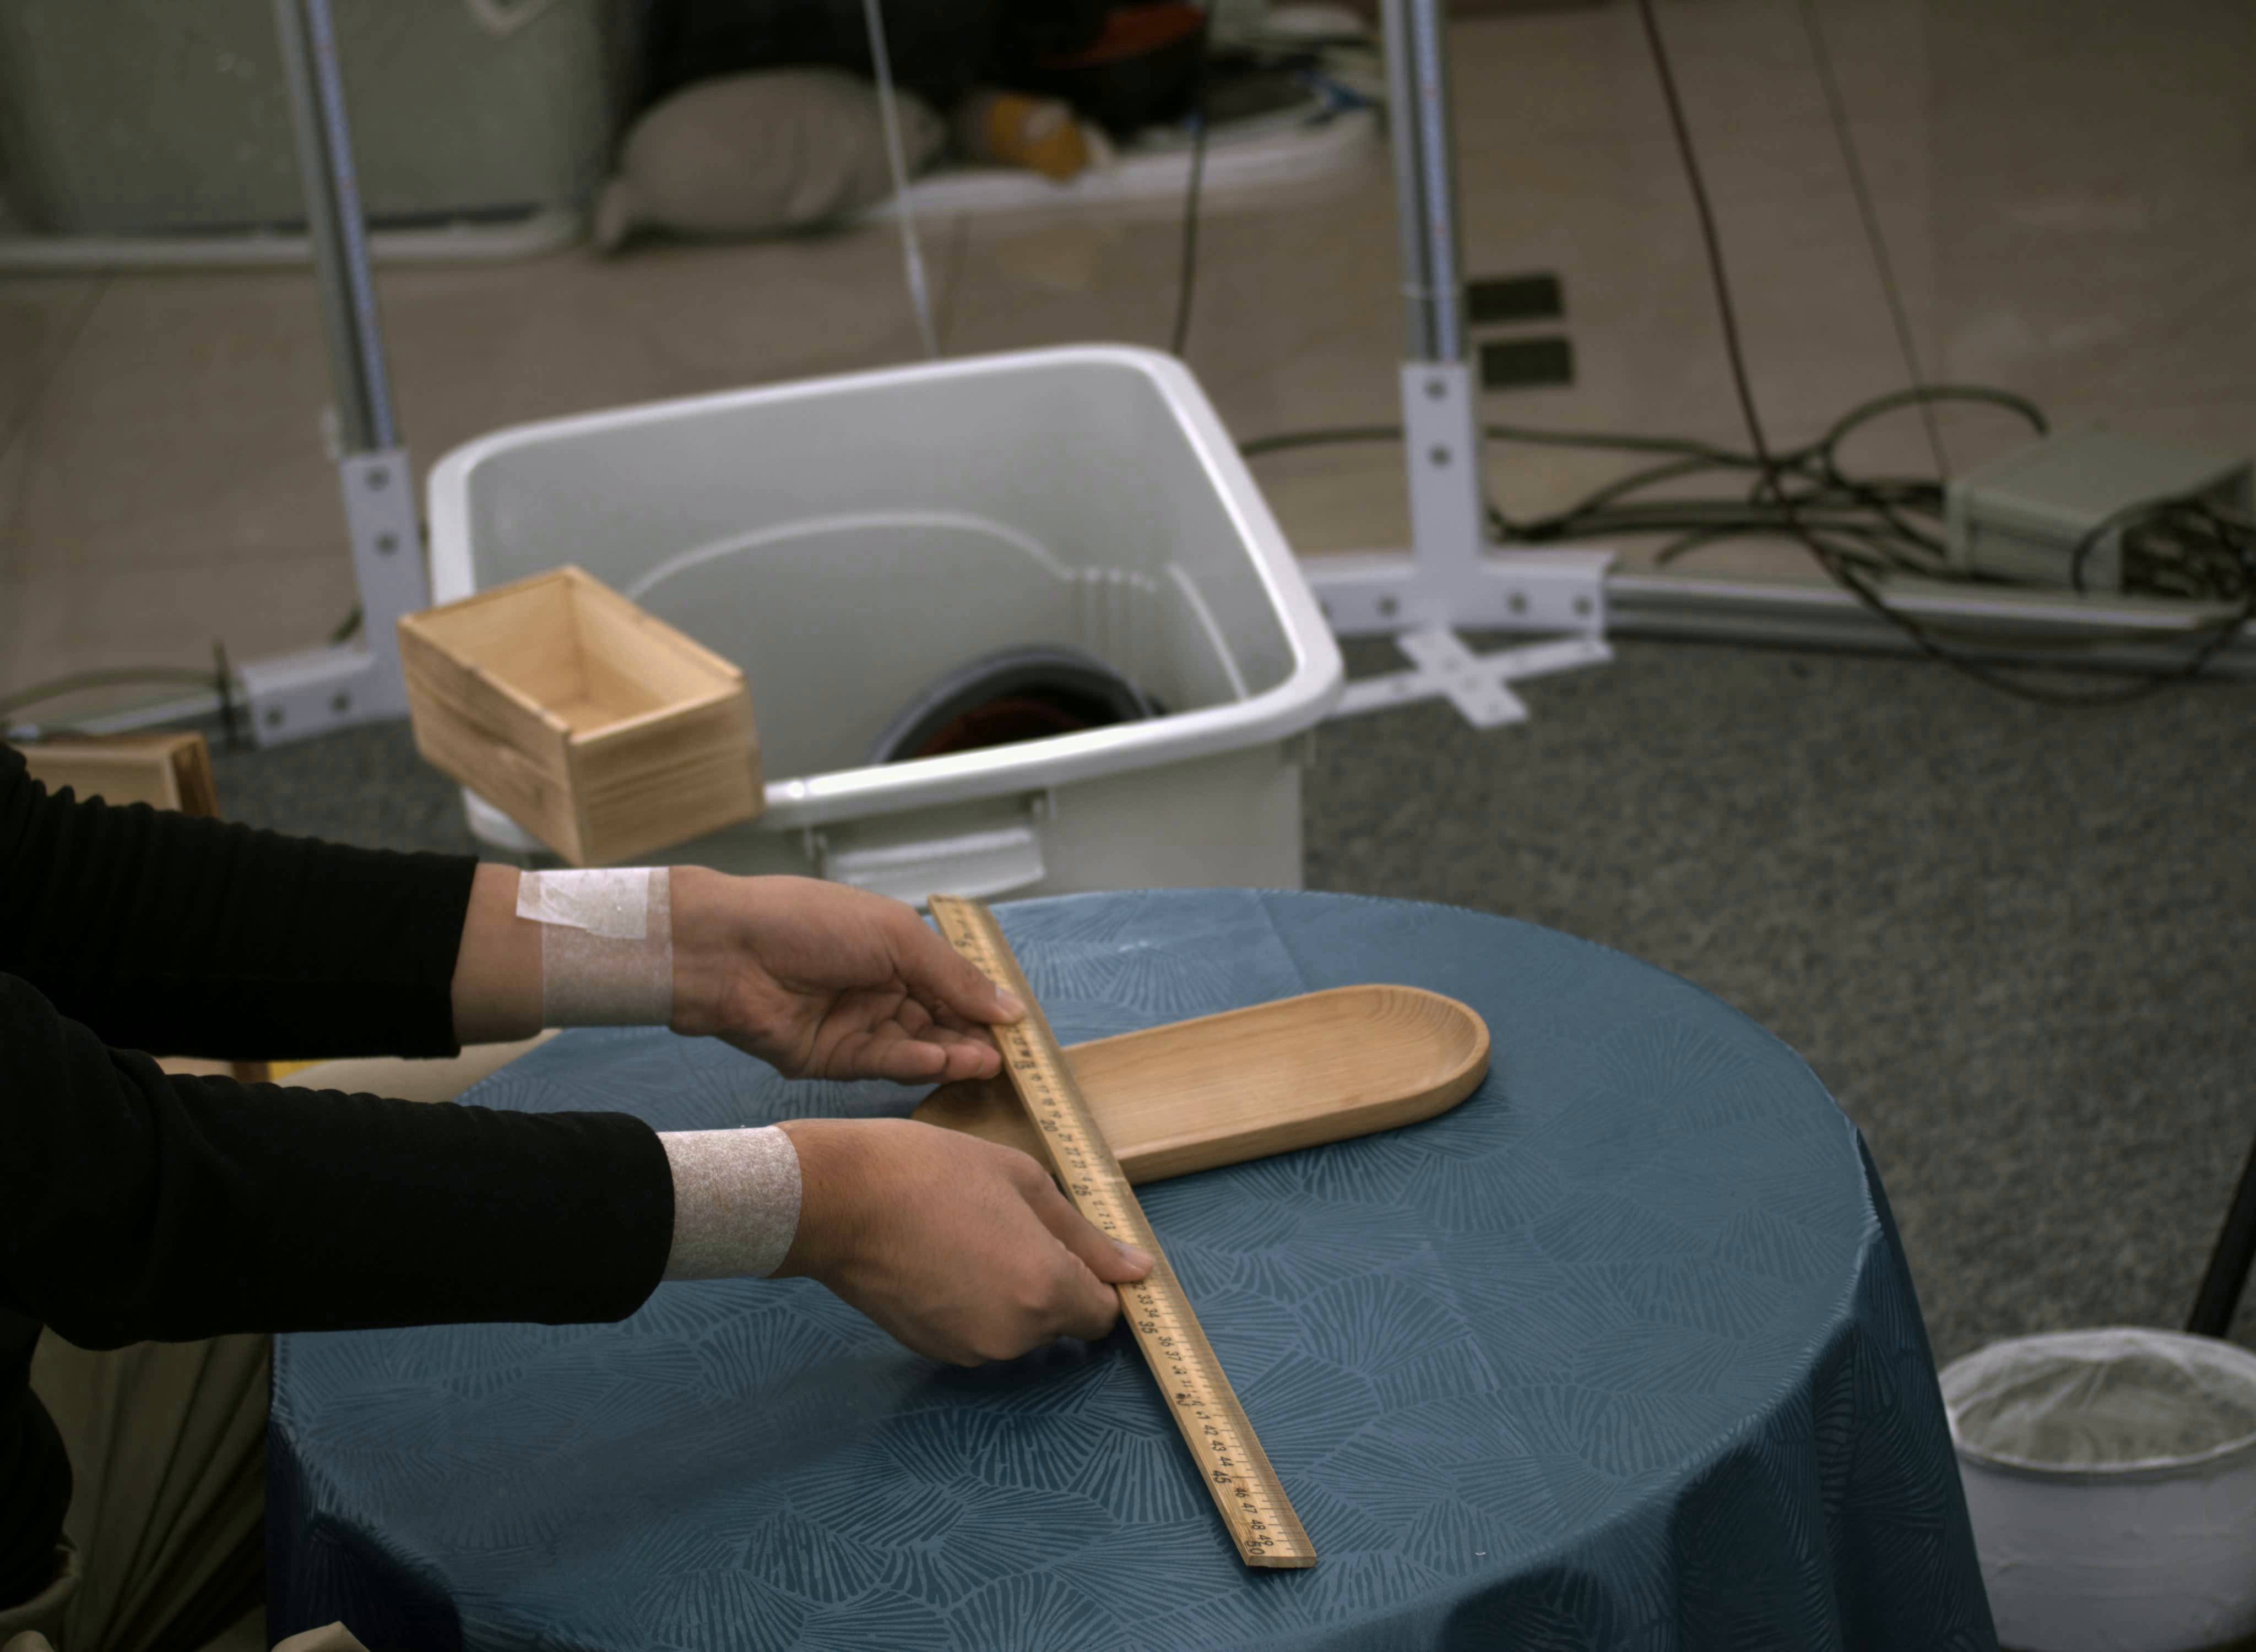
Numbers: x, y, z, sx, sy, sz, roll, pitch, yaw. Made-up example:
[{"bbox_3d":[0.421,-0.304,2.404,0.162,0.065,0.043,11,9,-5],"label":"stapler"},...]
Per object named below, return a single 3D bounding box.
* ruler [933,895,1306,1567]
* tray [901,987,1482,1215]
[{"bbox_3d":[-0.011,0.138,2.109,0.027,0.006,0.493,1,26,-16],"label":"ruler"},{"bbox_3d":[0.025,0.106,2.192,0.230,0.020,0.100,-14,24,-12],"label":"tray"}]
